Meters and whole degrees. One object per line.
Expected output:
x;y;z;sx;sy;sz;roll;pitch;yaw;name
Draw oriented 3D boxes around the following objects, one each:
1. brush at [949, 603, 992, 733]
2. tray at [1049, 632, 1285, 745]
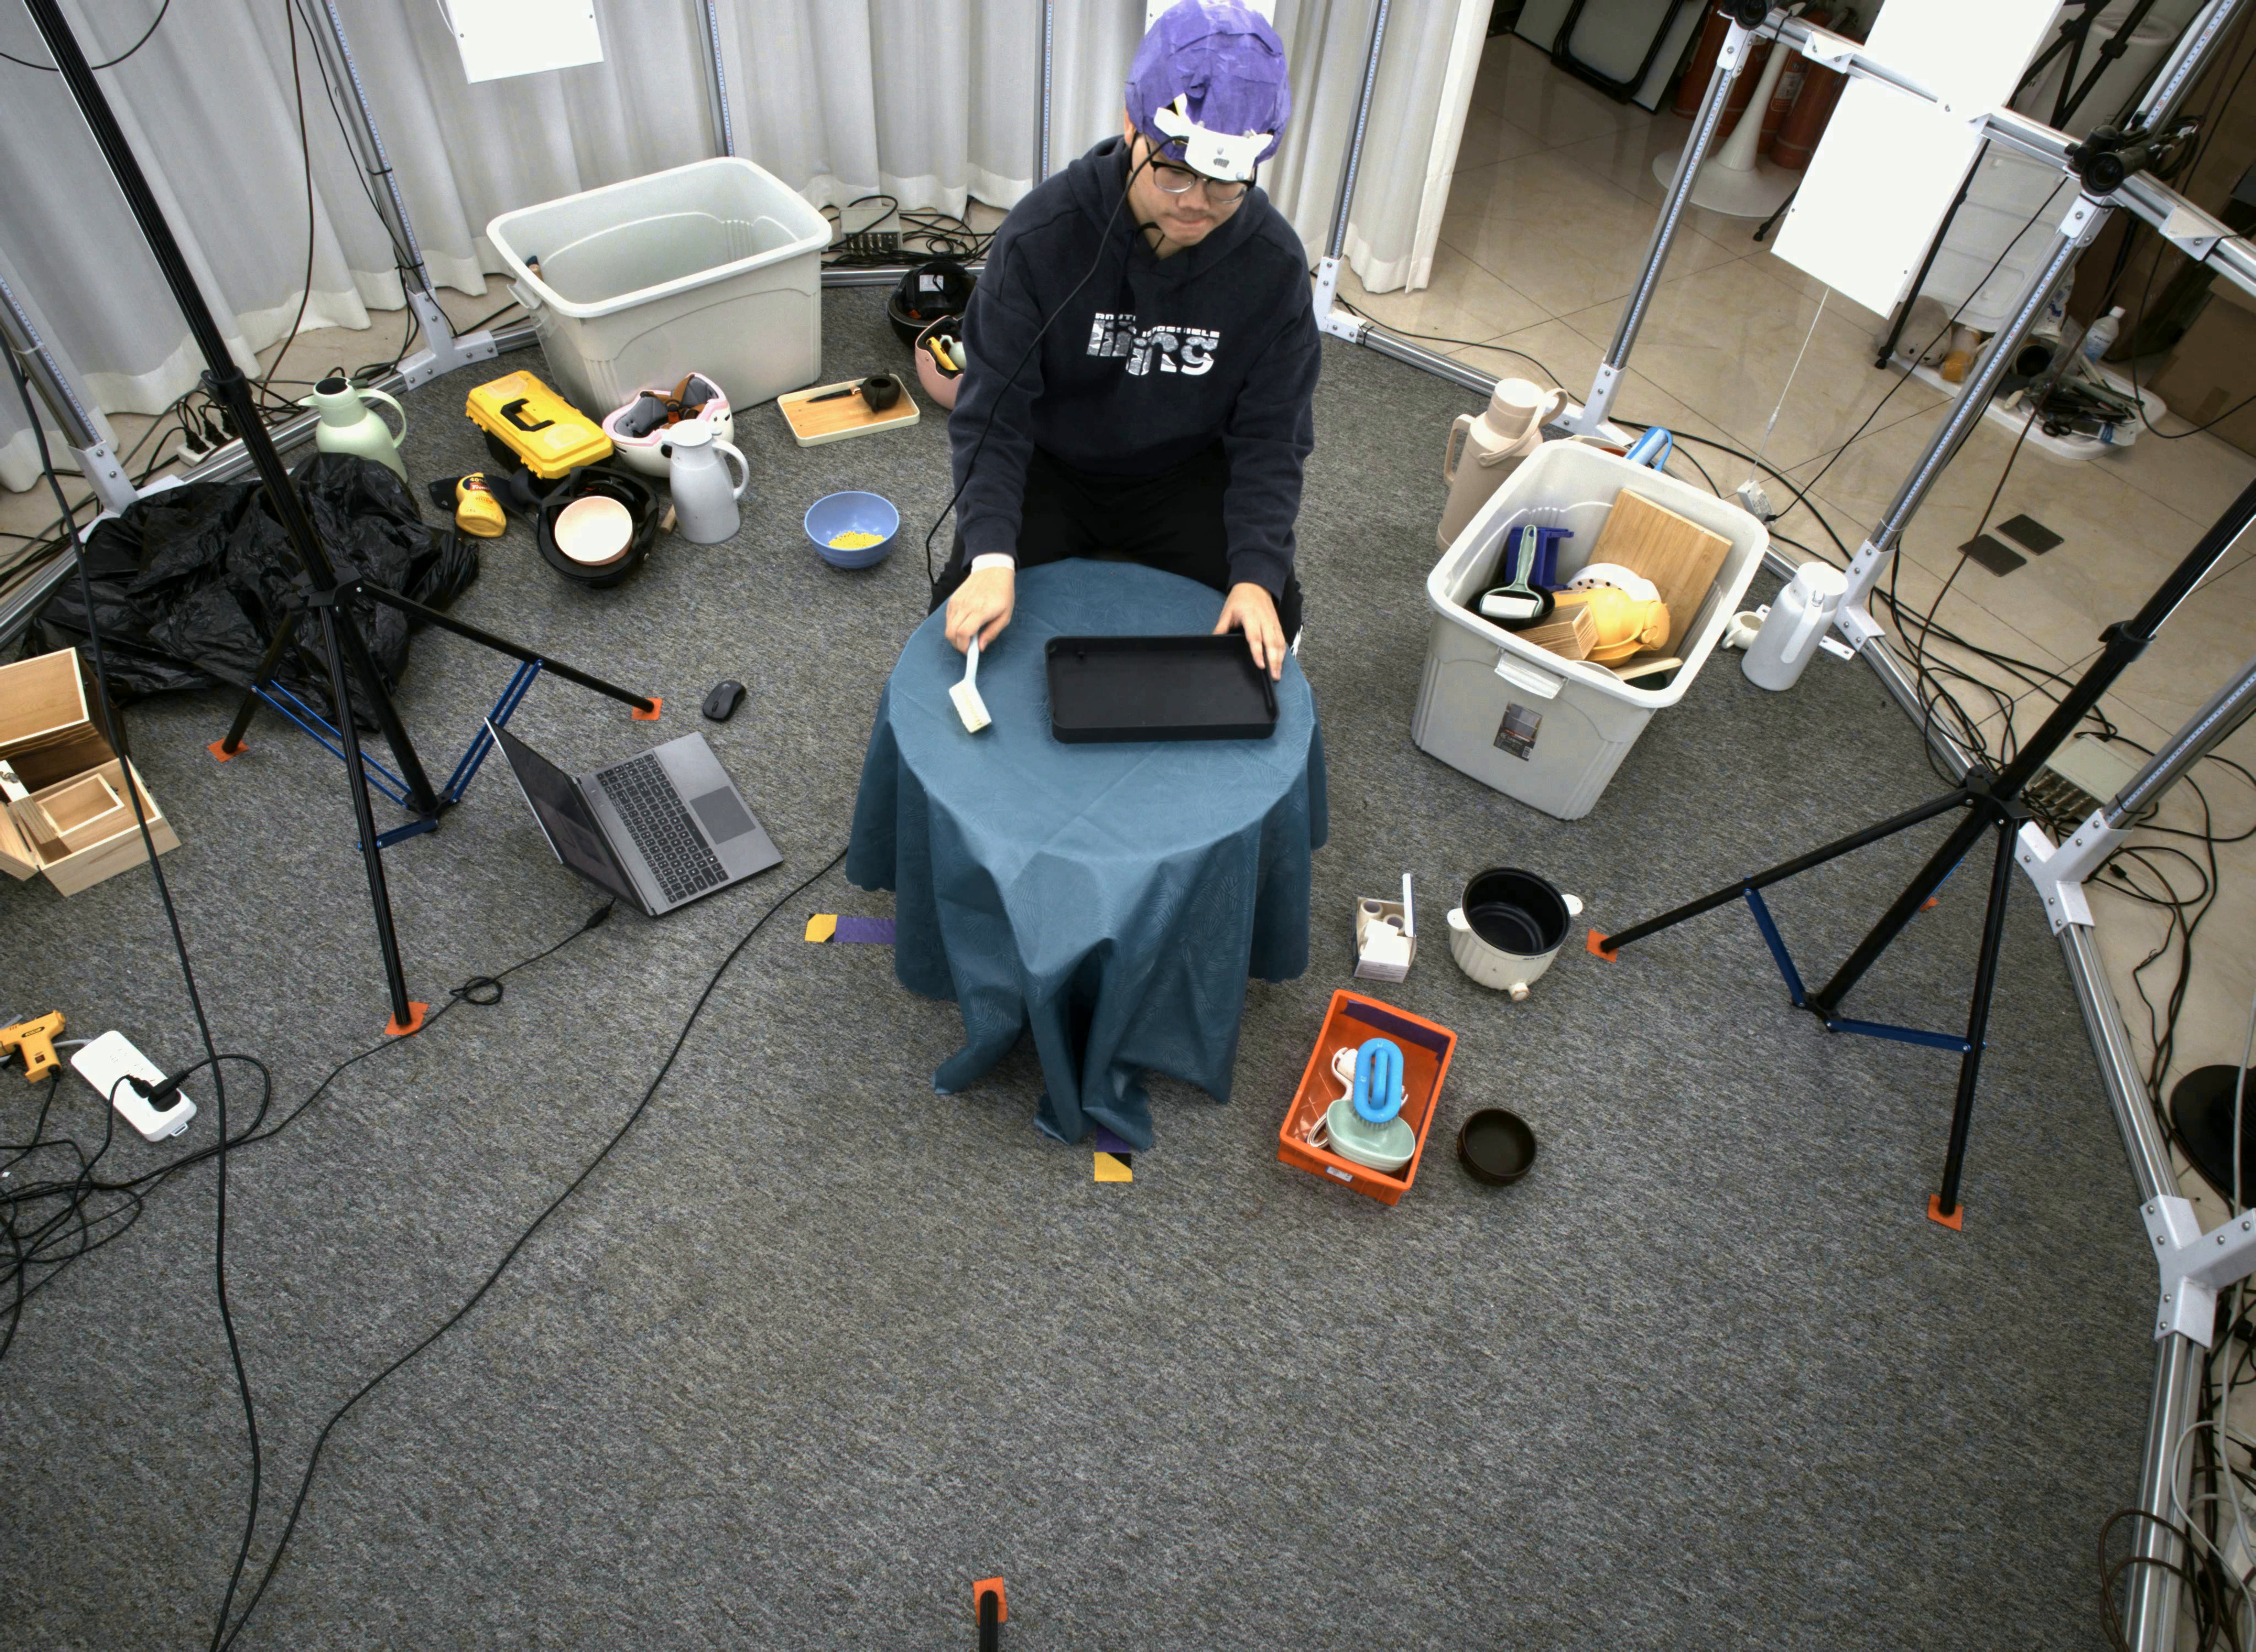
-0.228;-0.226;1.809;0.049;0.037;0.234;-17;55;9;brush
0.051;-0.197;1.817;0.317;0.036;0.189;-3;49;-7;tray
